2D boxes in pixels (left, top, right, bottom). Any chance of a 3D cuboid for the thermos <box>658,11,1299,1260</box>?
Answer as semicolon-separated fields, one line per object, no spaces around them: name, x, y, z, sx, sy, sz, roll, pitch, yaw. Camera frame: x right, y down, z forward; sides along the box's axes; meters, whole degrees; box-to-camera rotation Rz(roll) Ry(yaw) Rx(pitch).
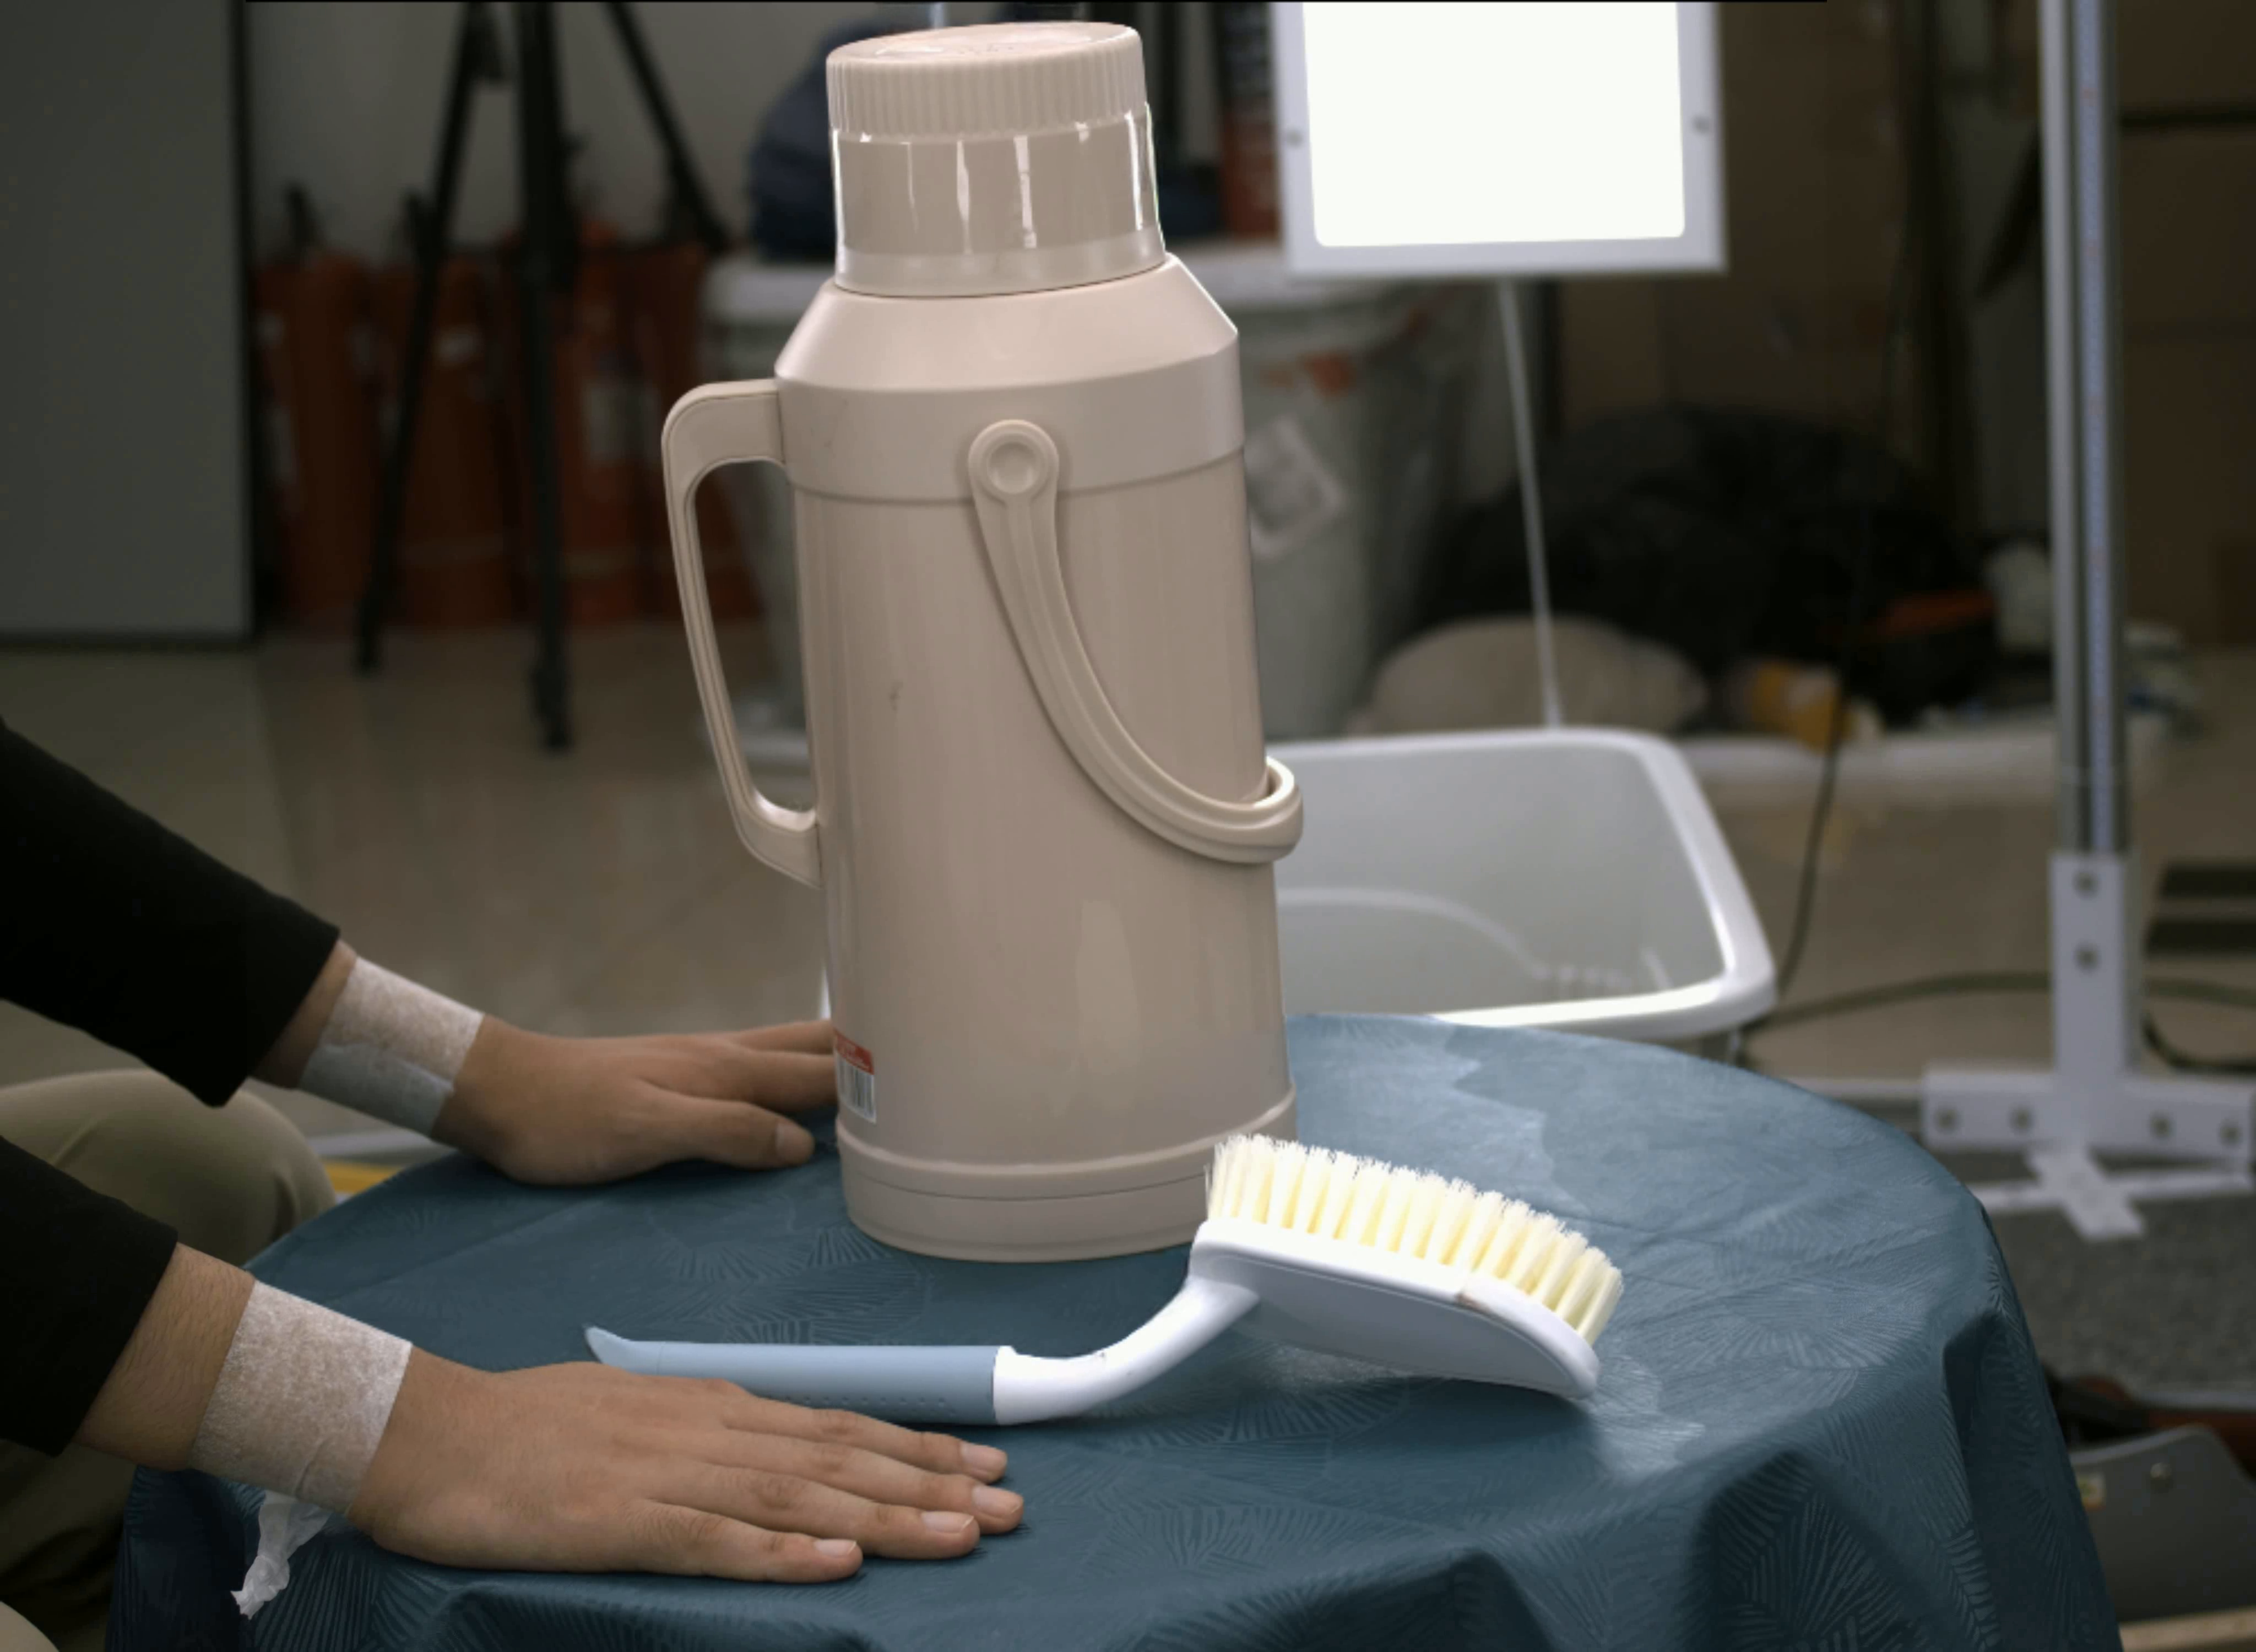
thermos;-0.049;-0.065;1.862;0.206;0.408;0.175;-4;15;0

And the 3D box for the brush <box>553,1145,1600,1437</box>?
brush;-0.017;0.137;1.691;0.328;0.083;0.083;0;20;13
